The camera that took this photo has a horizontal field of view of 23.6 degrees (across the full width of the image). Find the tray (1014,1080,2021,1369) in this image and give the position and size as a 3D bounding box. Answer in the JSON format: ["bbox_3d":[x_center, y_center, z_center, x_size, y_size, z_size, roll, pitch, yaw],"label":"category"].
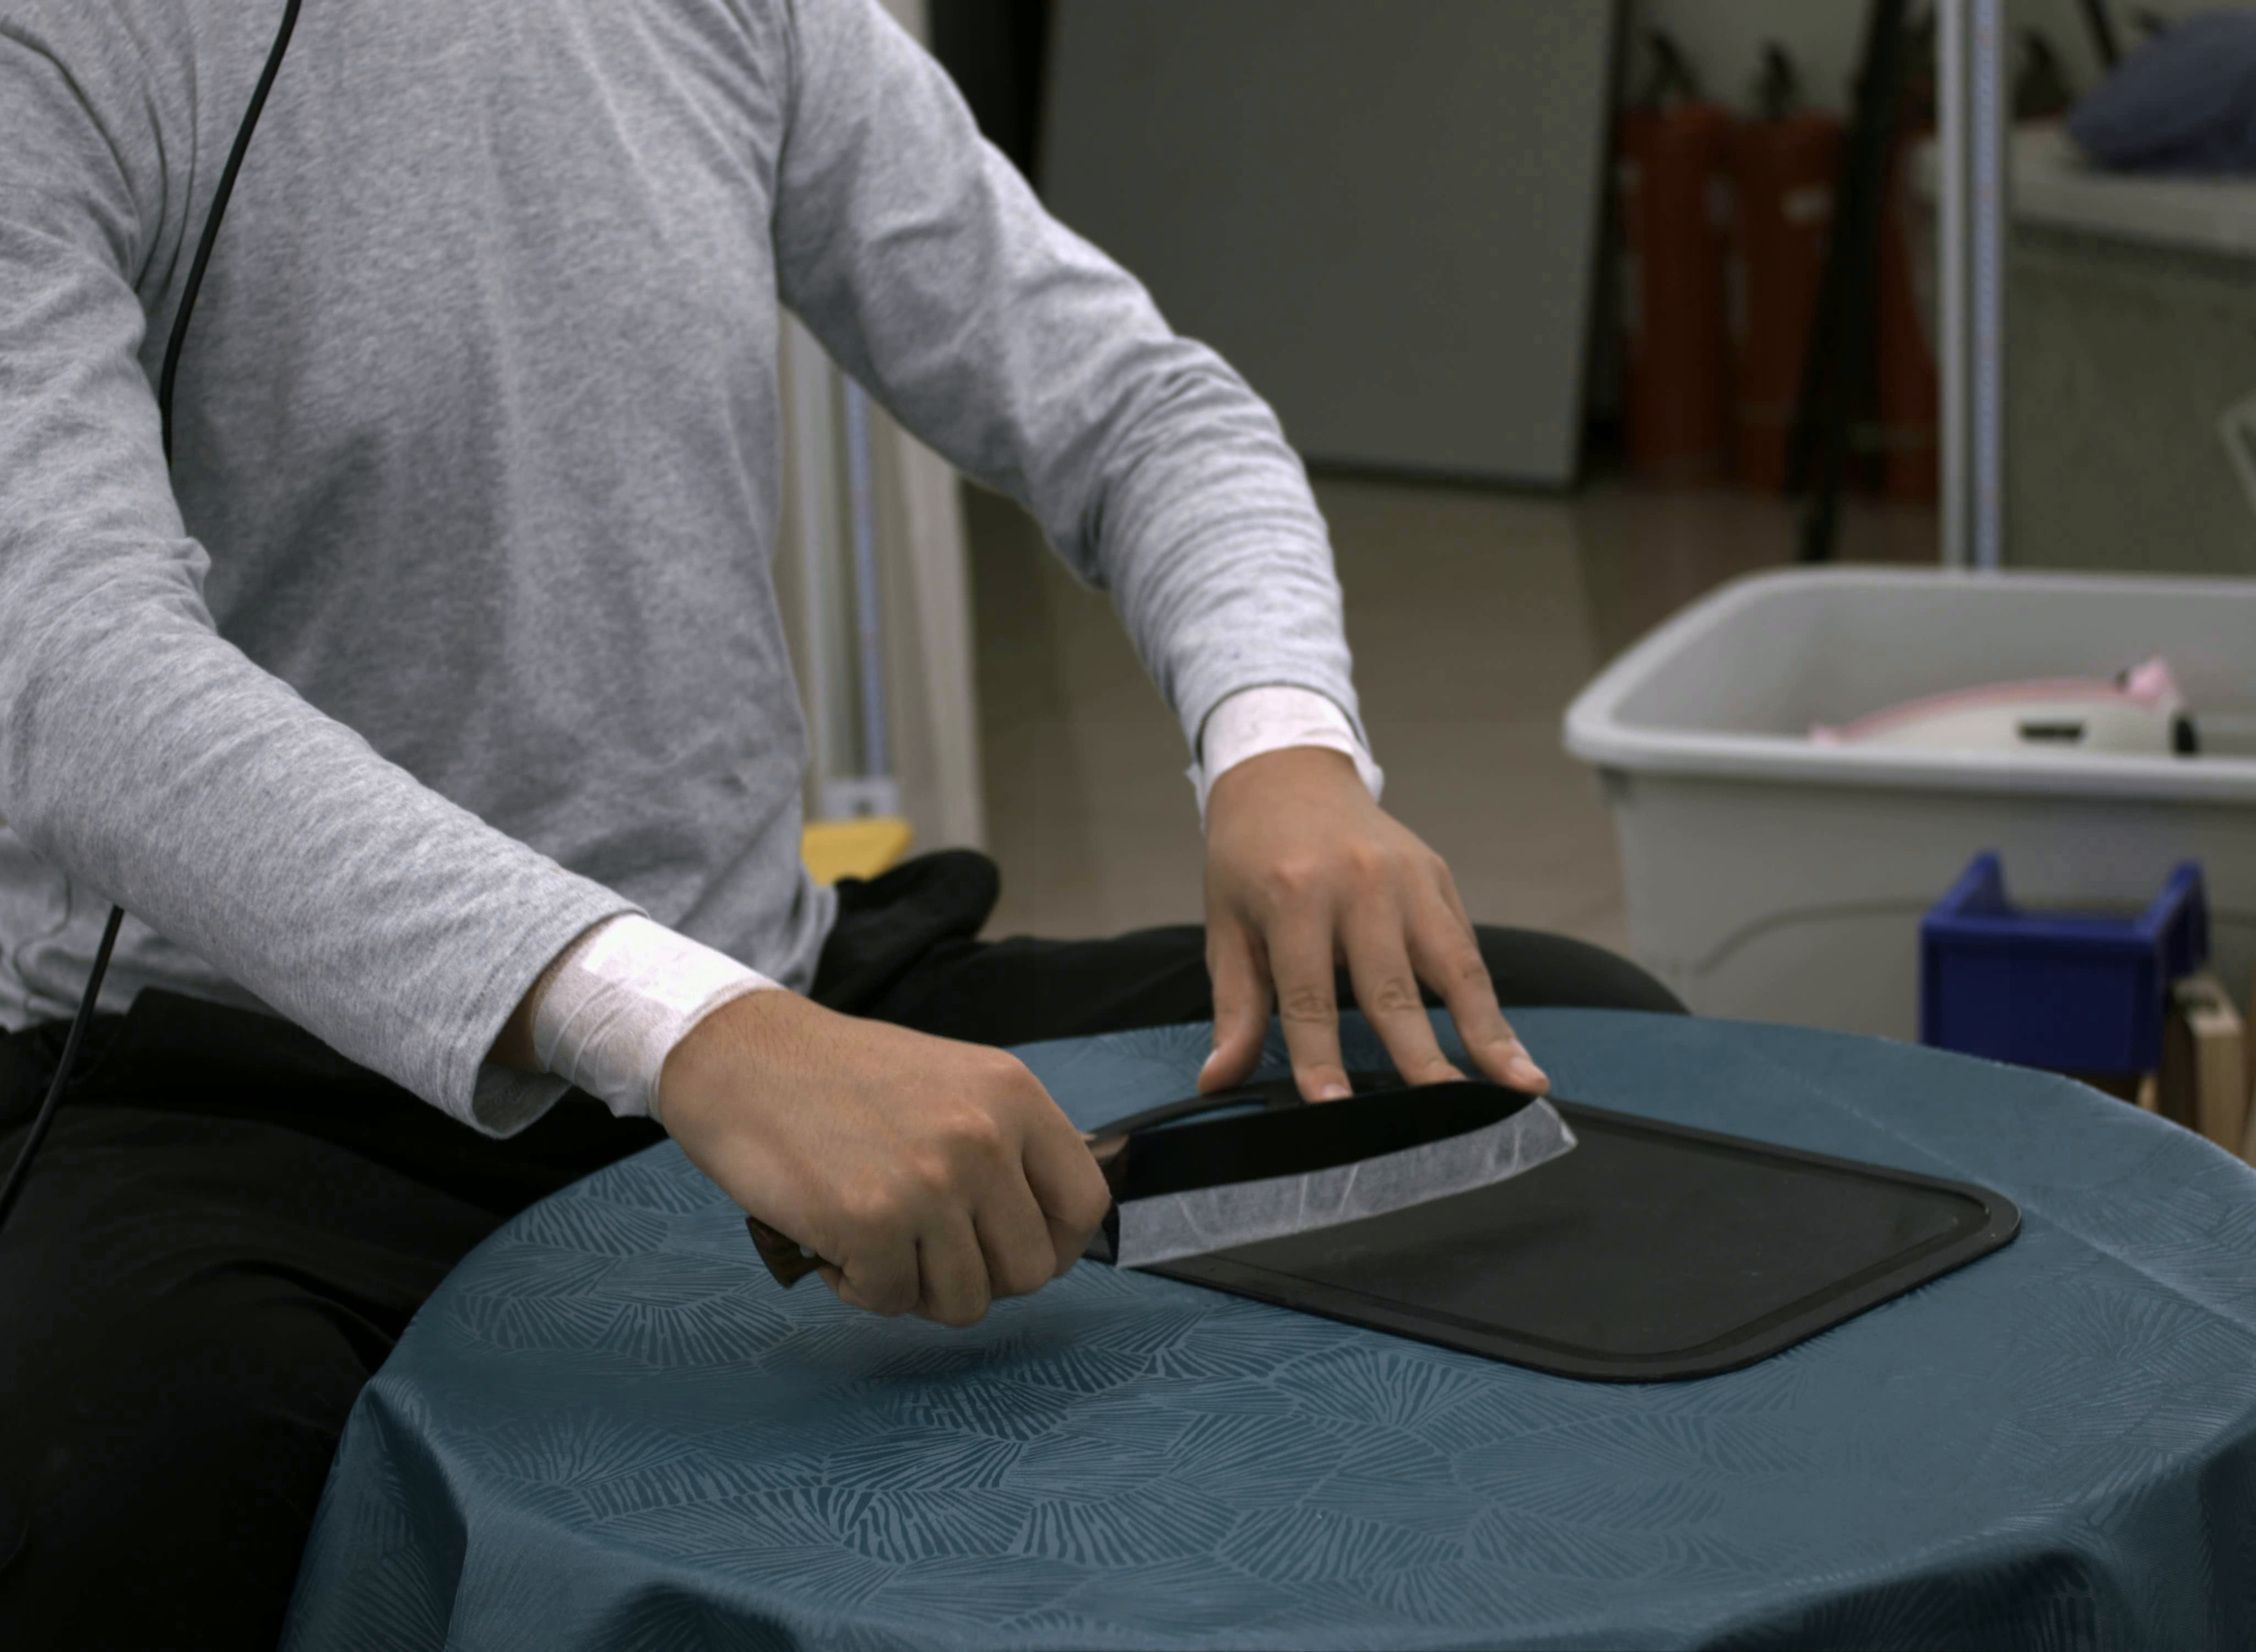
[{"bbox_3d":[0.111,0.122,1.727,0.207,0.010,0.328,-16,18,-42],"label":"tray"}]

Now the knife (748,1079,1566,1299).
[{"bbox_3d":[0.015,0.113,1.662,0.282,0.051,0.020,-7,26,-26],"label":"knife"}]
